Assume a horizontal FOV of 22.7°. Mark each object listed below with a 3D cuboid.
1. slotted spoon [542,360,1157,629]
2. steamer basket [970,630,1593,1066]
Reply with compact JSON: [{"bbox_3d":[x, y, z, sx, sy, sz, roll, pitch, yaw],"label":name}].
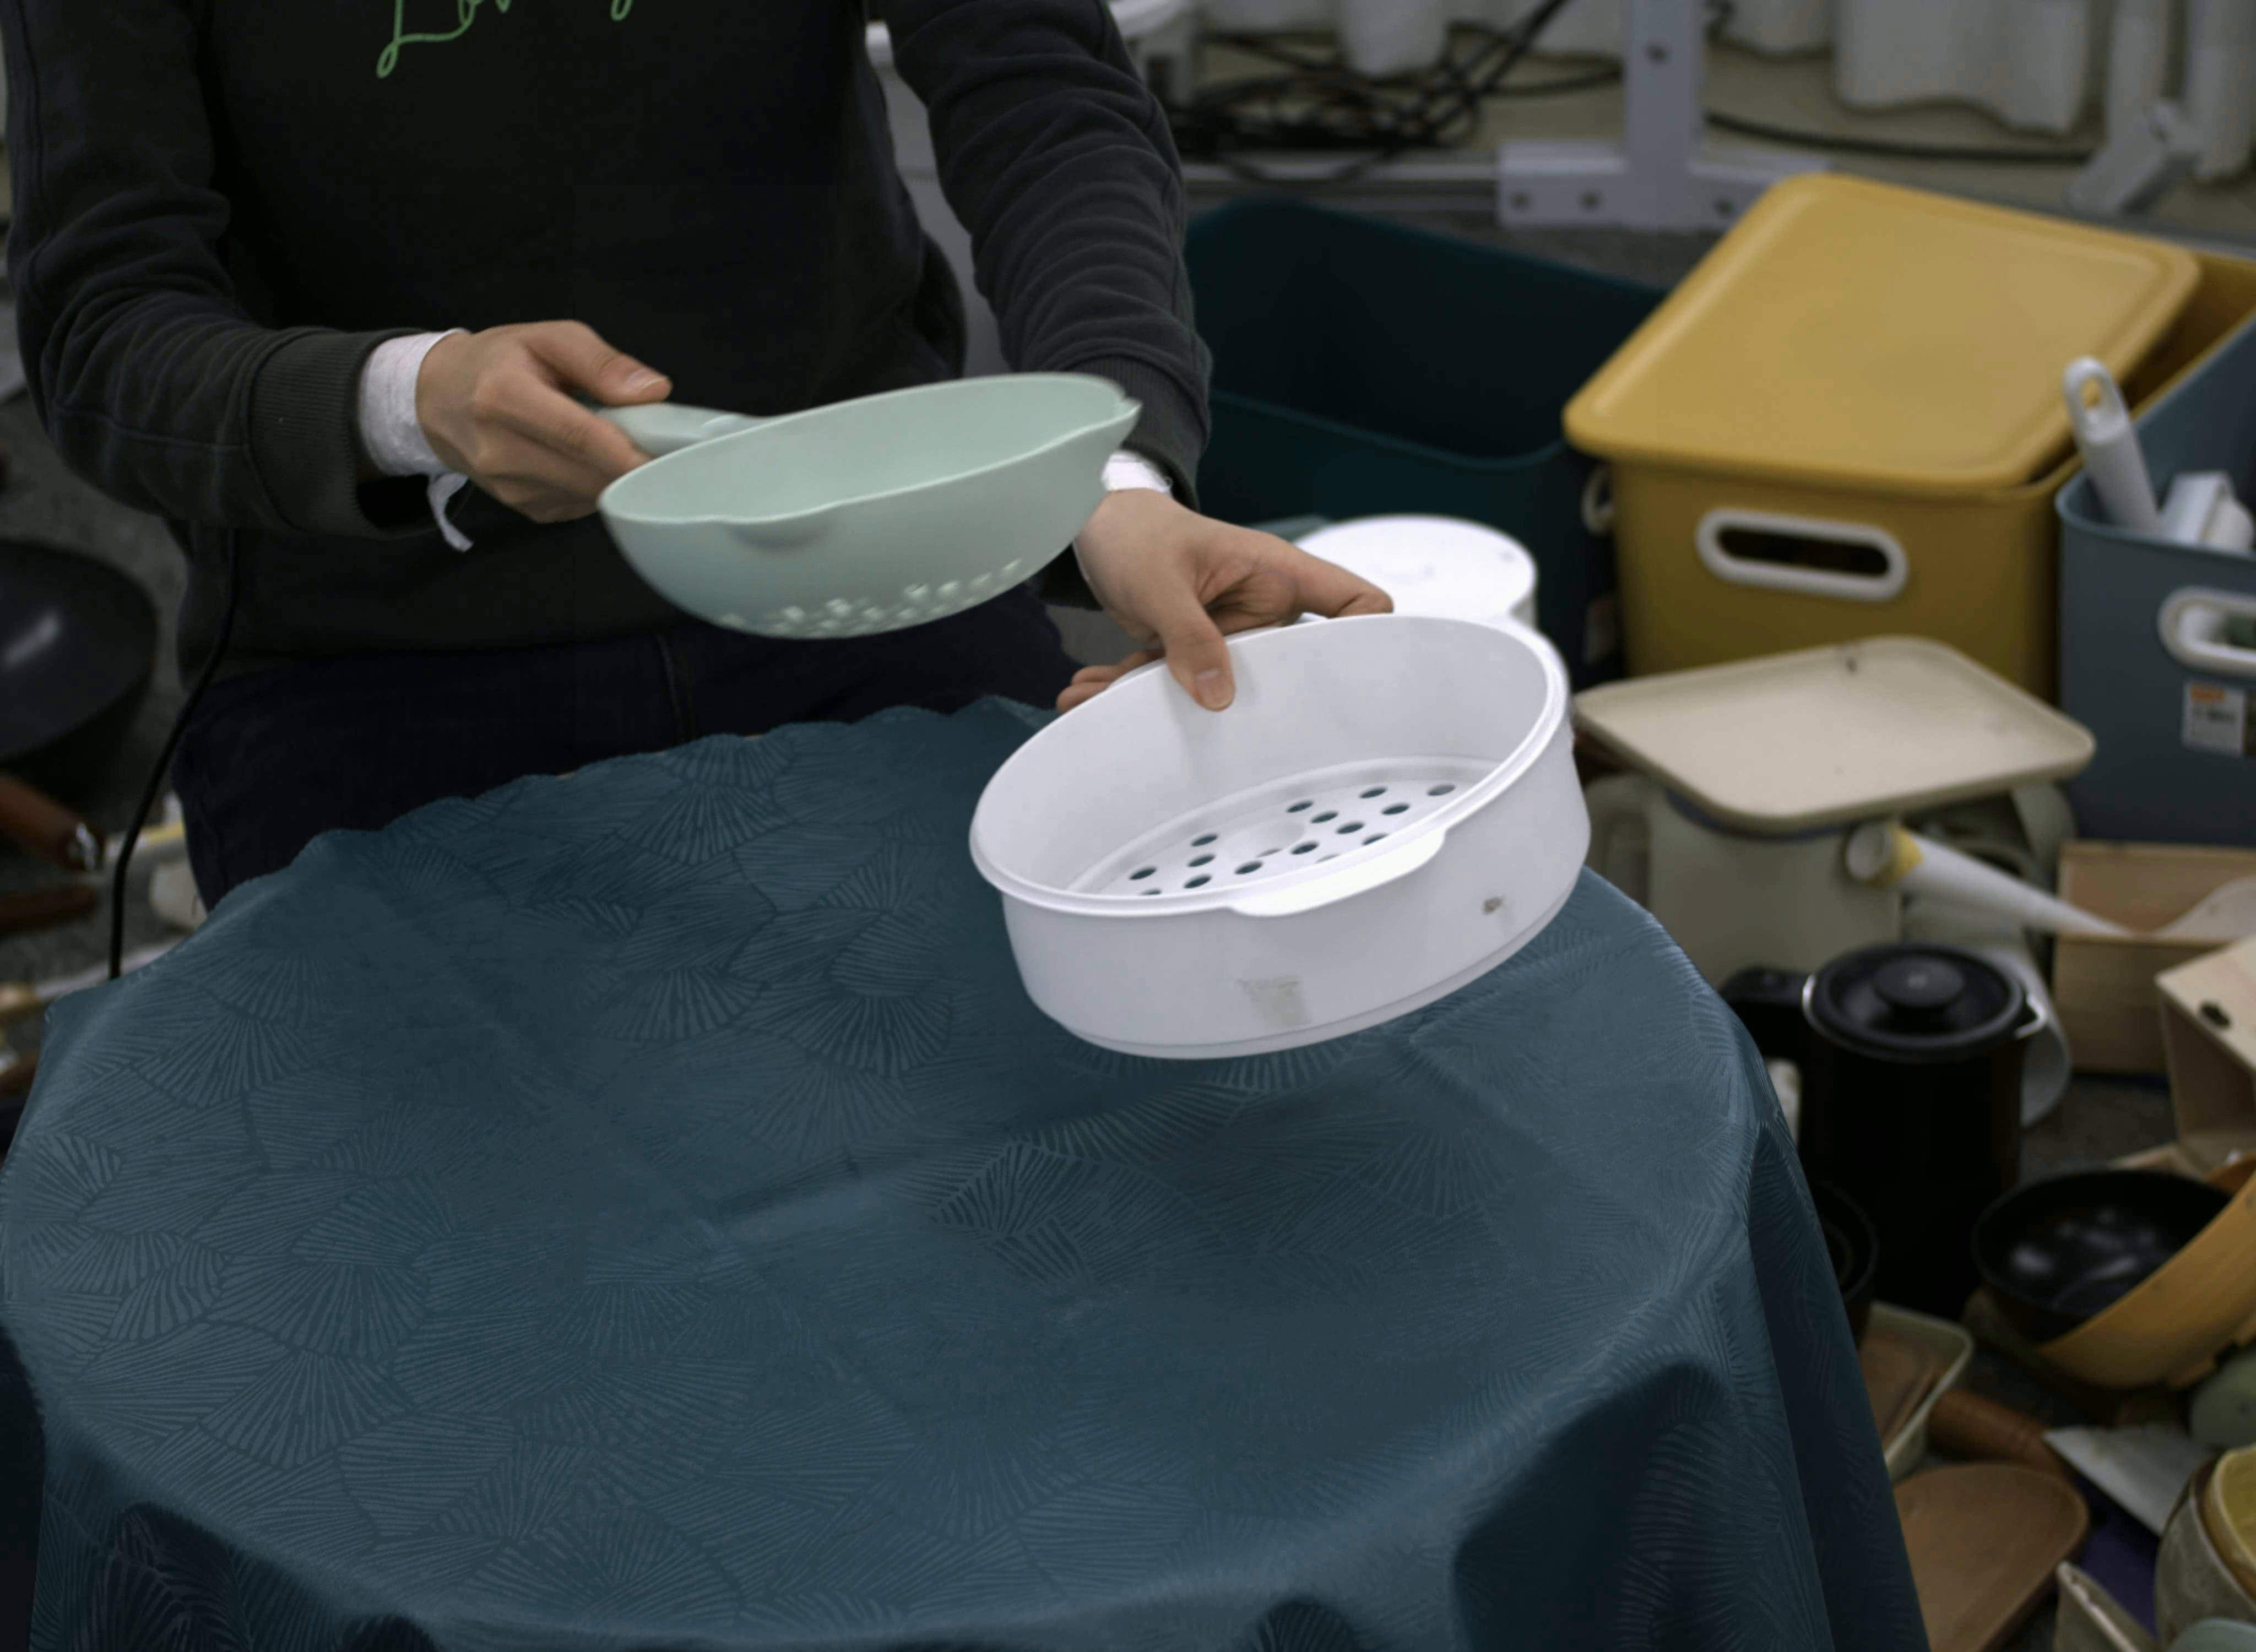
[{"bbox_3d":[-0.123,-0.126,1.875,0.170,0.075,0.359,-18,24,-25],"label":"slotted spoon"},{"bbox_3d":[0.052,0.008,1.833,0.202,0.069,0.232,-18,23,-7],"label":"steamer basket"}]
